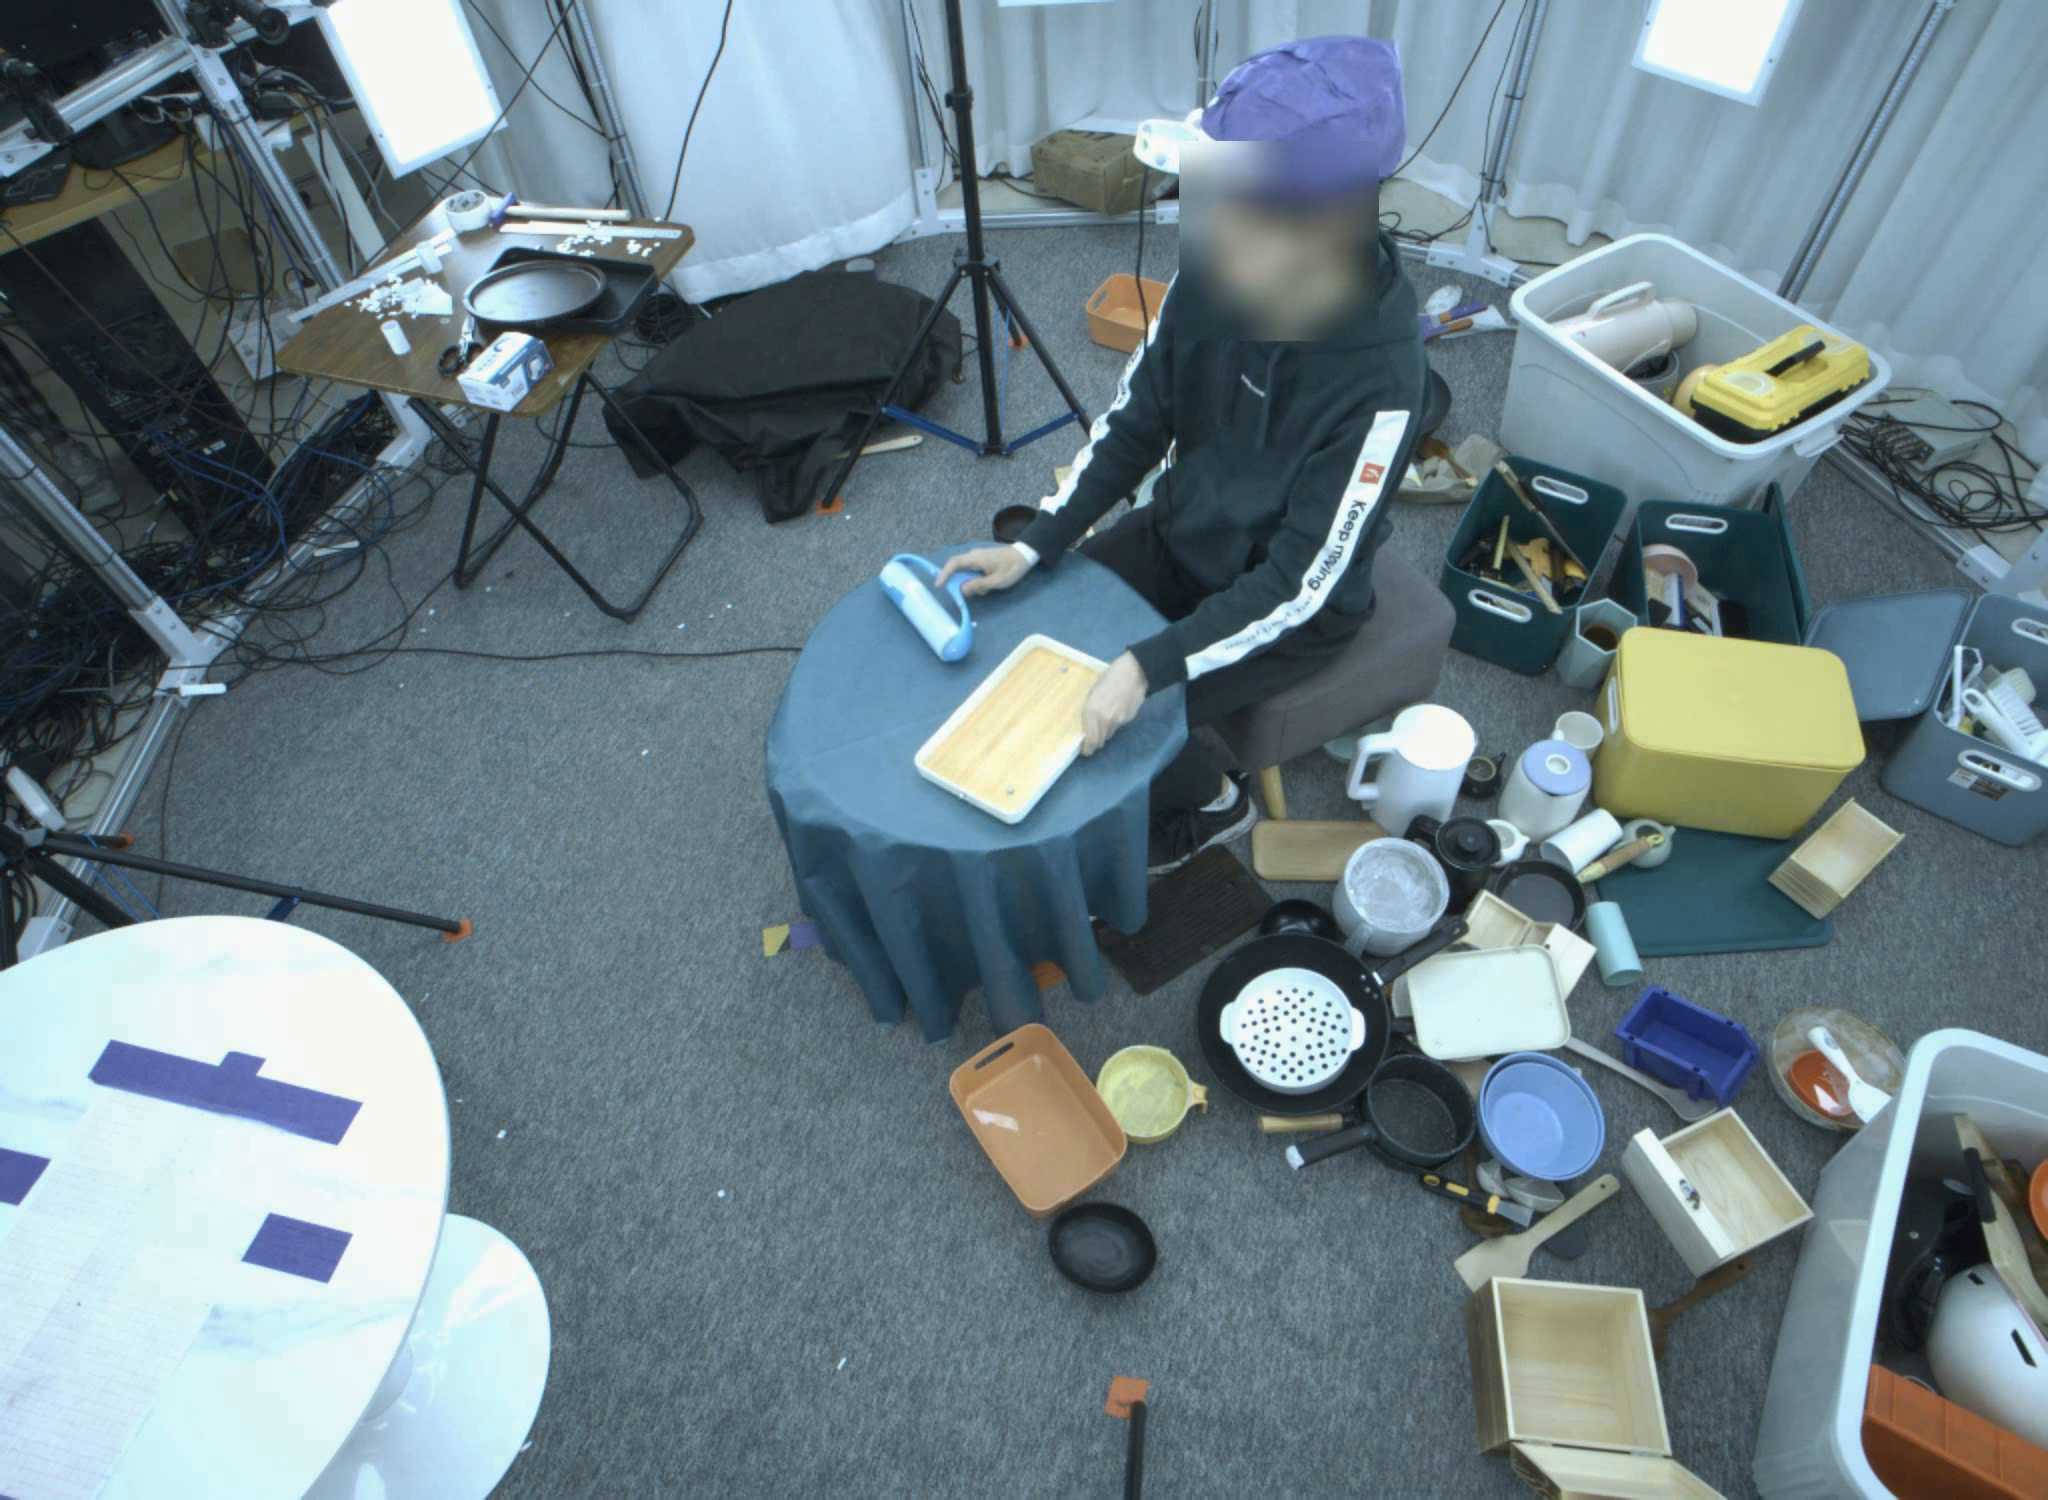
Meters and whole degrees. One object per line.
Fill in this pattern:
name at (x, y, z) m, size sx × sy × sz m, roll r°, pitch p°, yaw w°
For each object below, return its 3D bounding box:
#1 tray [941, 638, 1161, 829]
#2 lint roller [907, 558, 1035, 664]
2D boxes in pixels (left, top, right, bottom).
tray at (0.042, -0.031, 1.778) m, size 0.188 × 0.028 × 0.302 m, roll 30°, pitch 61°, yaw 26°
lint roller at (-0.064, -0.244, 1.924) m, size 0.181 × 0.069 × 0.224 m, roll -33°, pitch 57°, yaw -17°
